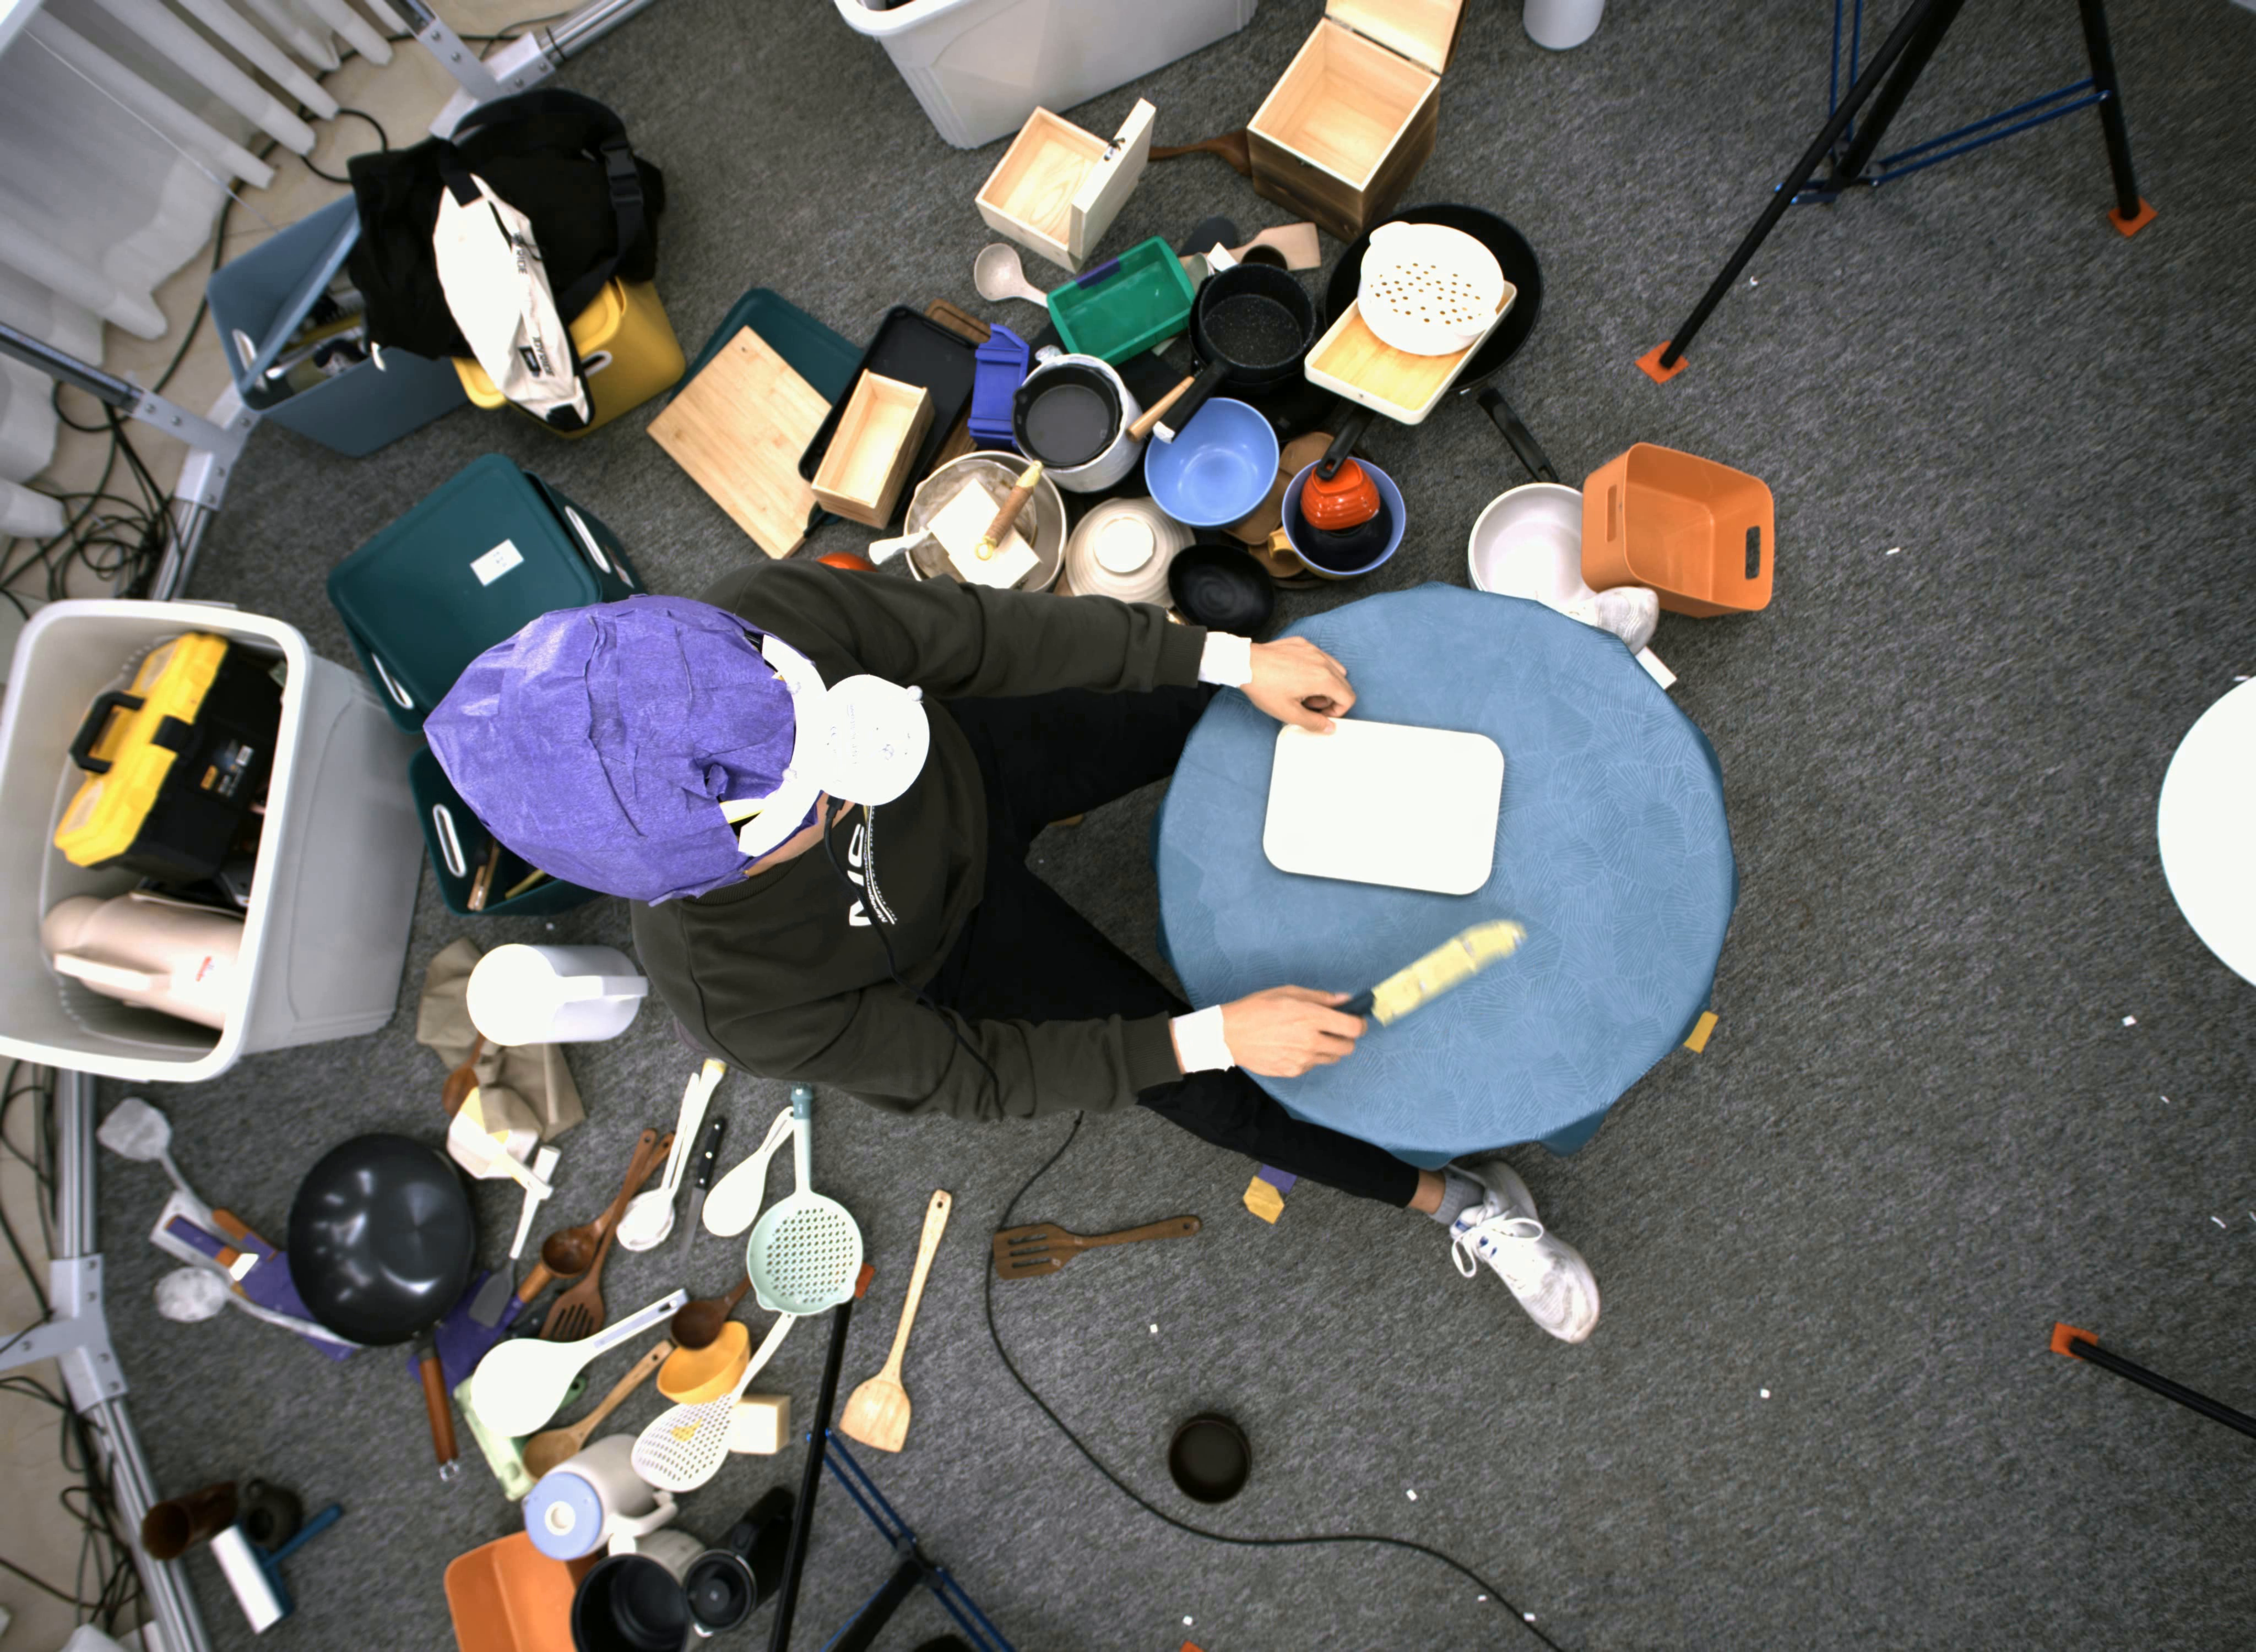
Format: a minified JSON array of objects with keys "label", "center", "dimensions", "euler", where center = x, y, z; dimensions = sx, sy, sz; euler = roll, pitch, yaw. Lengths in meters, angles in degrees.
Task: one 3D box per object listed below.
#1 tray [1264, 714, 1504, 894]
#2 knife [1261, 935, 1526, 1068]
[{"label":"tray","center":[0.269,-0.025,1.456],"dimensions":[0.240,0.017,0.171],"euler":[8,89,11]},{"label":"knife","center":[0.269,0.178,1.393],"dimensions":[0.292,0.082,0.026],"euler":[-27,48,11]}]
